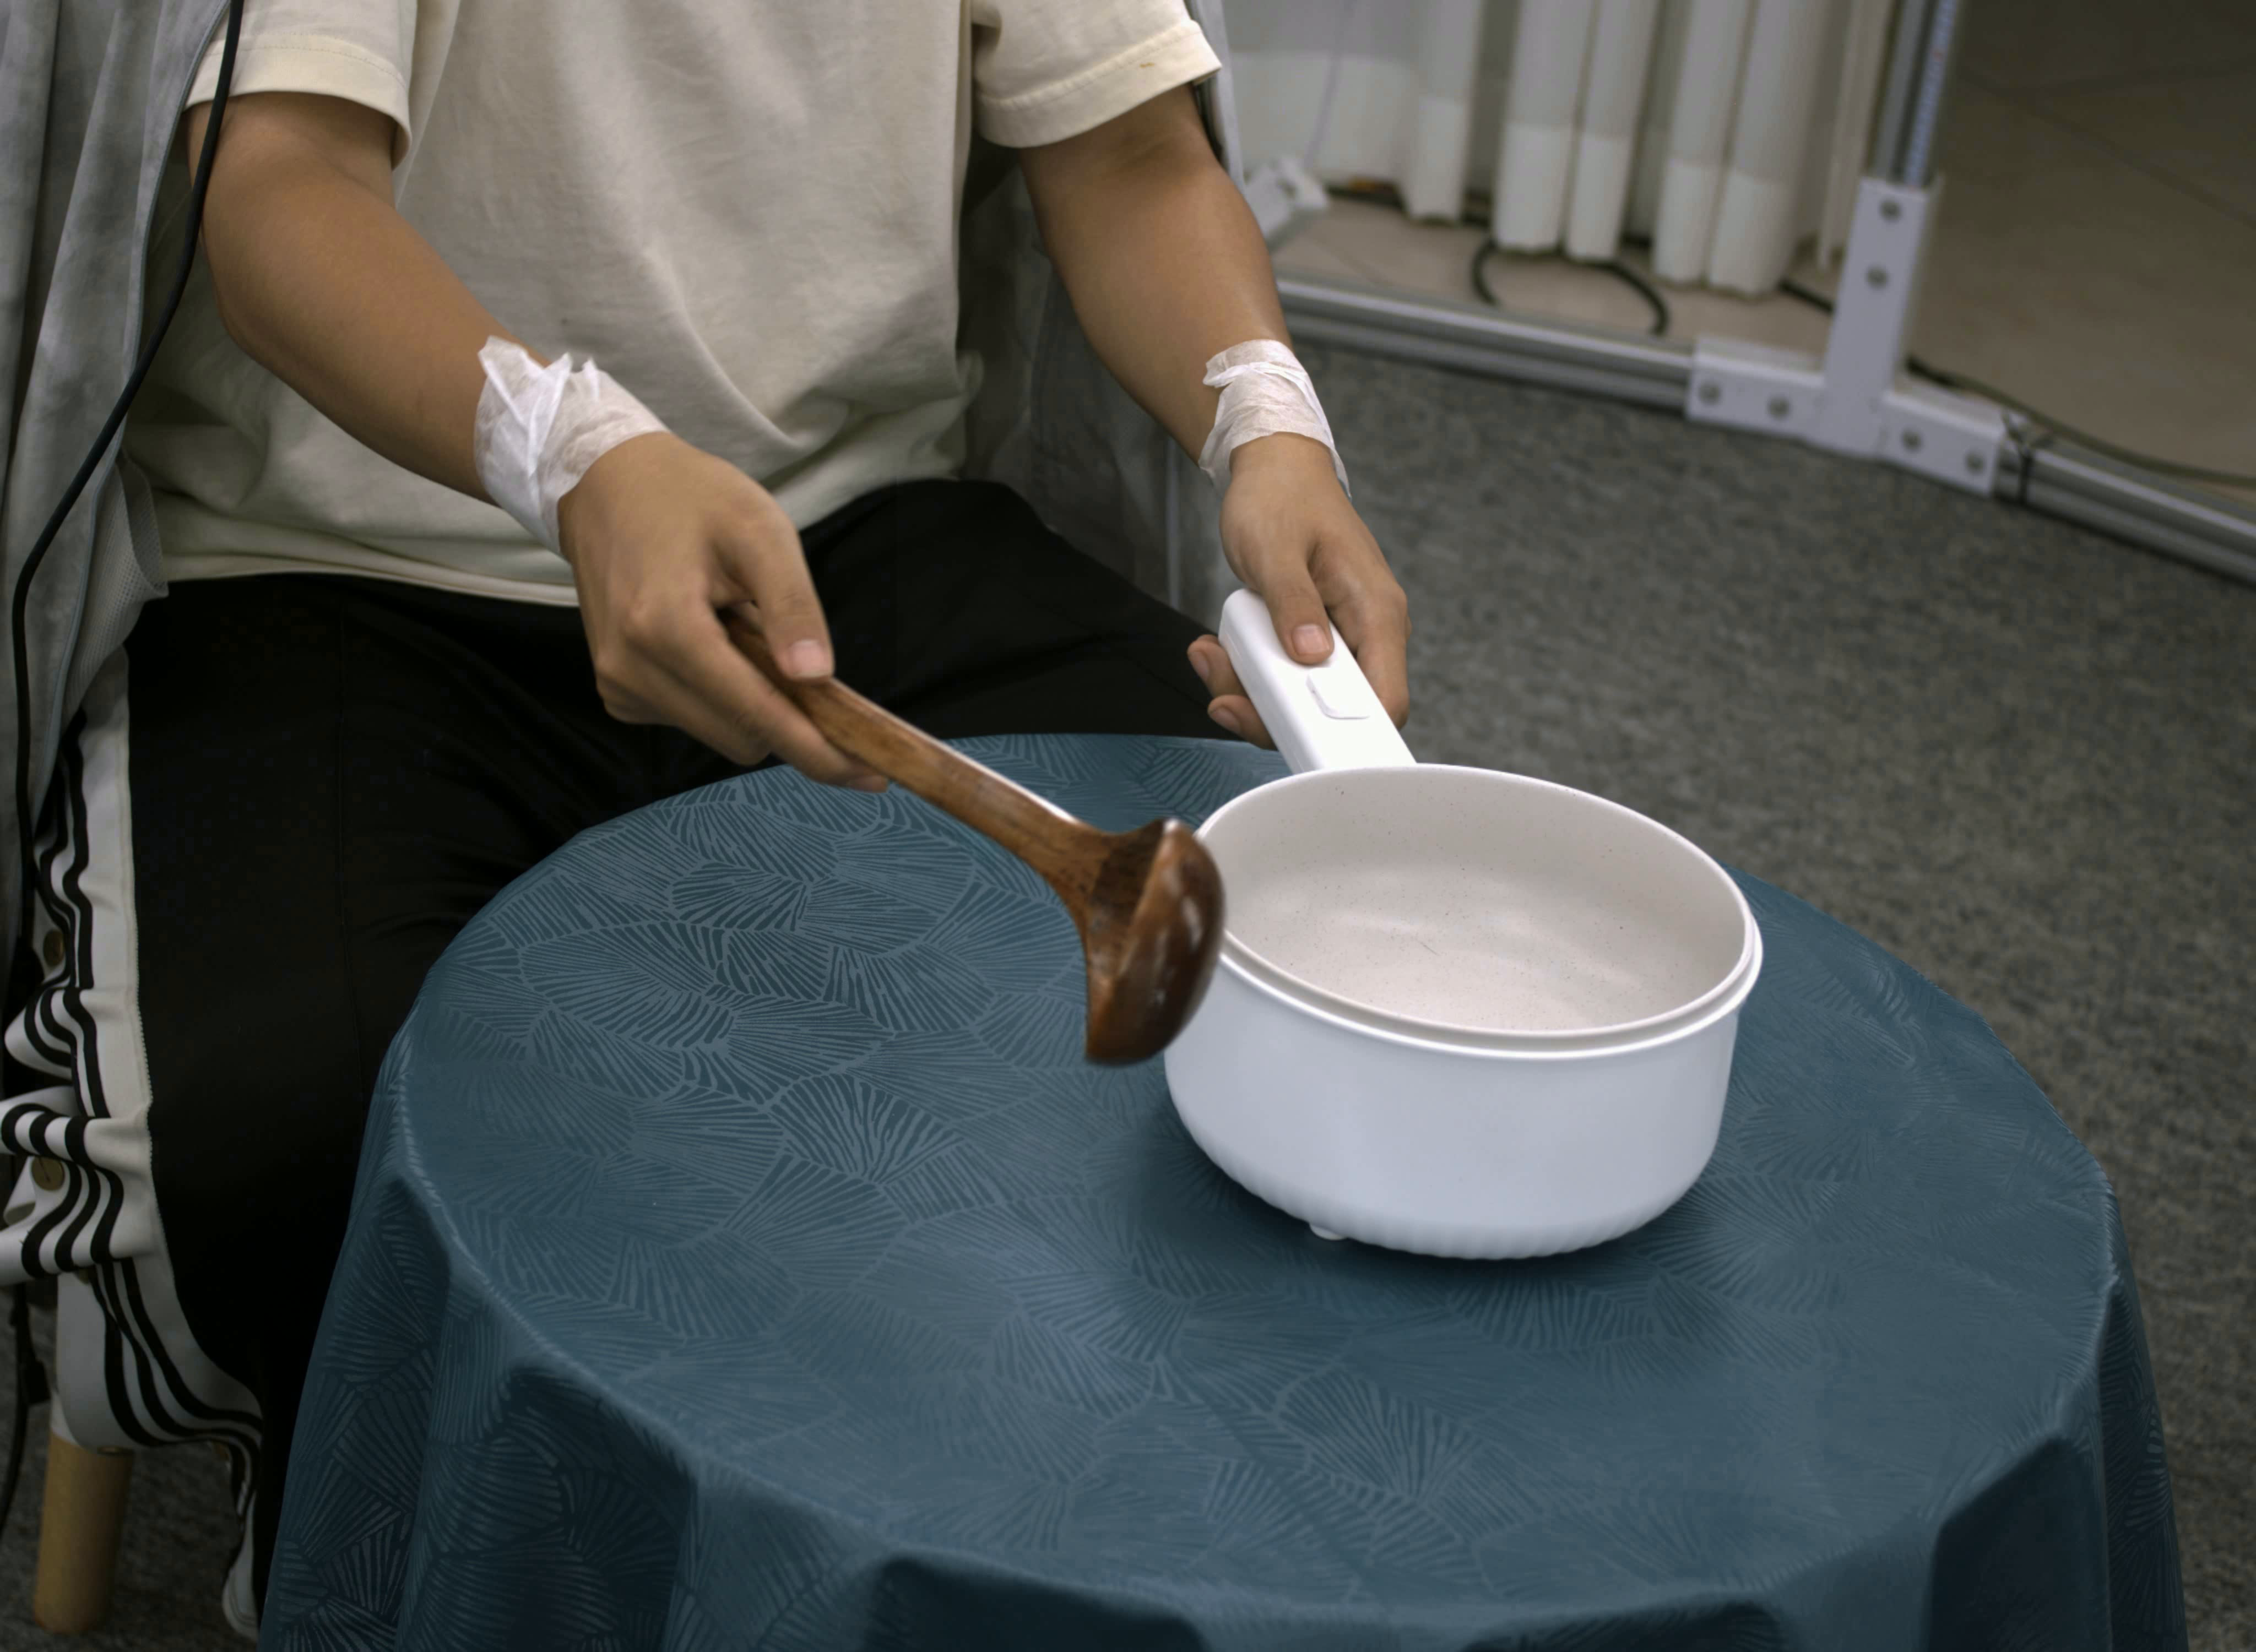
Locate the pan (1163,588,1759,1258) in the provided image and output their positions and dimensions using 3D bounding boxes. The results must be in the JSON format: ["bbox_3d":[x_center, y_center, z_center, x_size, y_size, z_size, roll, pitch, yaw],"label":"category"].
[{"bbox_3d":[0.093,0.032,1.897,0.200,0.102,0.358,-1,27,-14],"label":"pan"}]

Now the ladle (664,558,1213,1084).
[{"bbox_3d":[-0.075,-0.010,1.711,0.276,0.082,0.076,34,21,30],"label":"ladle"}]
